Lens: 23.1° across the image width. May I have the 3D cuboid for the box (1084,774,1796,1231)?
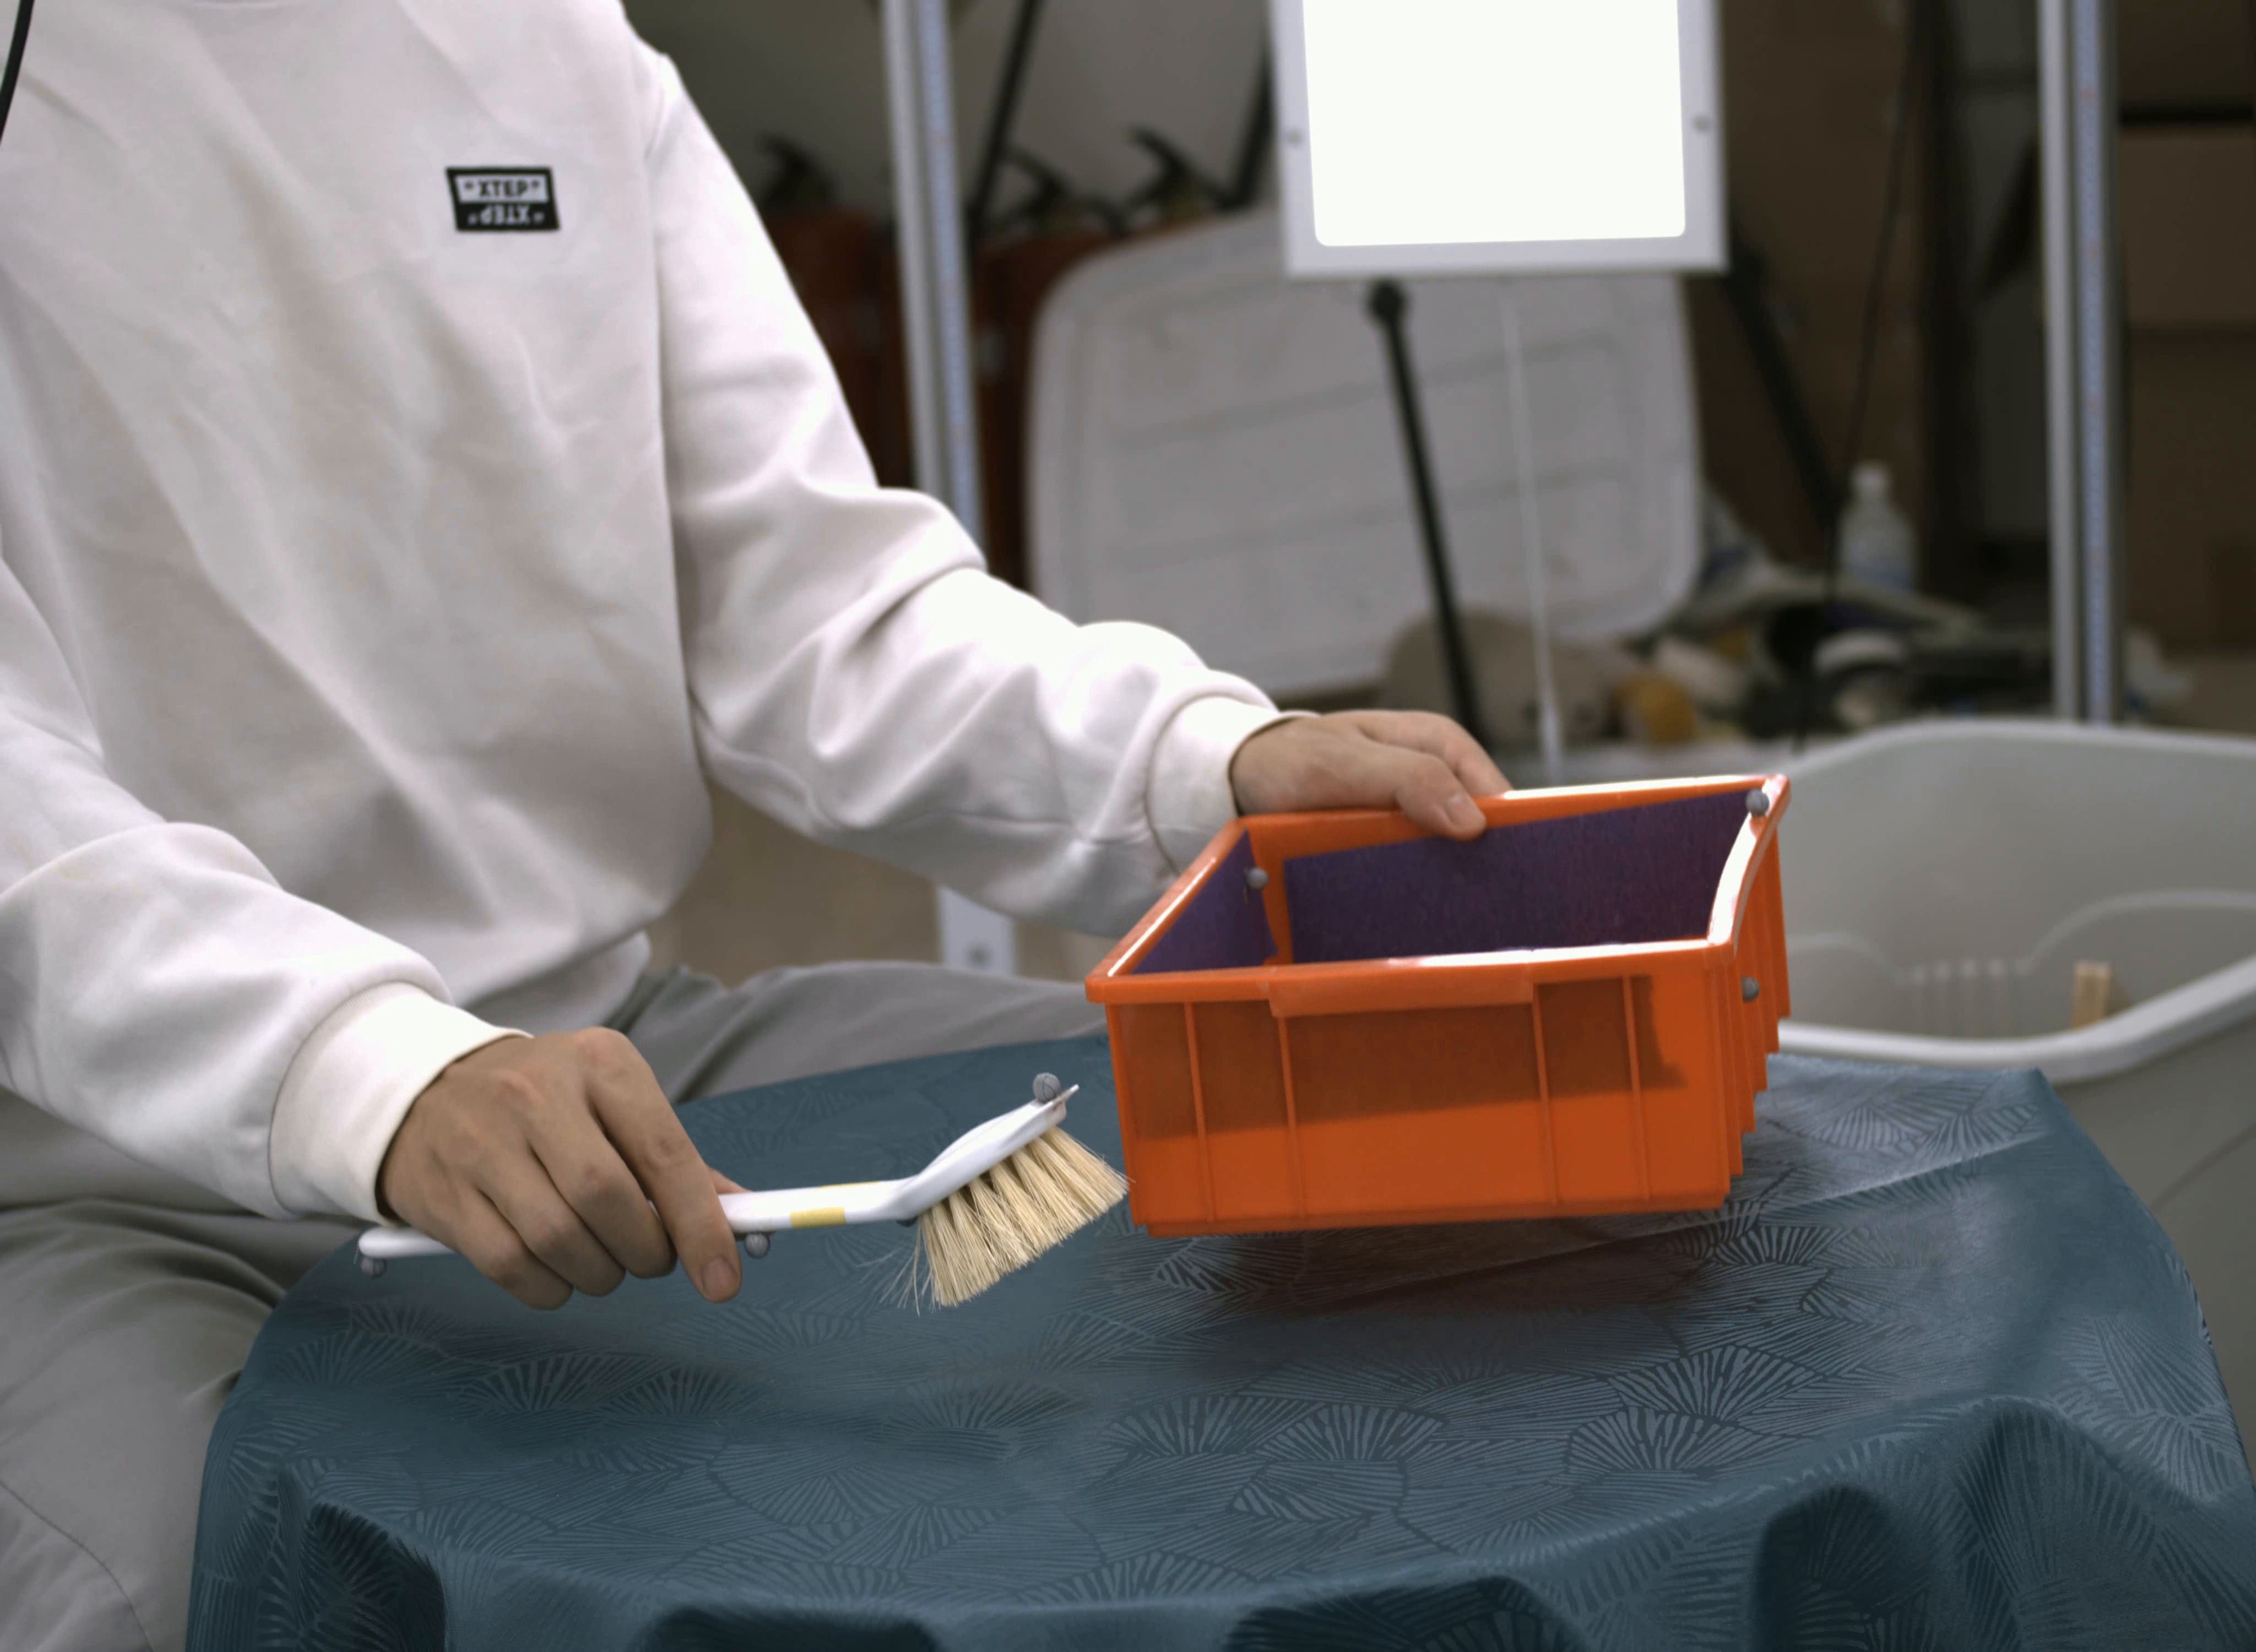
[{"bbox_3d":[0.116,0.058,1.844,0.208,0.097,0.300,-5,8,13],"label":"box"}]

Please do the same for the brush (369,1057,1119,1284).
[{"bbox_3d":[-0.122,0.132,1.733,0.271,0.056,0.067,-18,-4,27],"label":"brush"}]
